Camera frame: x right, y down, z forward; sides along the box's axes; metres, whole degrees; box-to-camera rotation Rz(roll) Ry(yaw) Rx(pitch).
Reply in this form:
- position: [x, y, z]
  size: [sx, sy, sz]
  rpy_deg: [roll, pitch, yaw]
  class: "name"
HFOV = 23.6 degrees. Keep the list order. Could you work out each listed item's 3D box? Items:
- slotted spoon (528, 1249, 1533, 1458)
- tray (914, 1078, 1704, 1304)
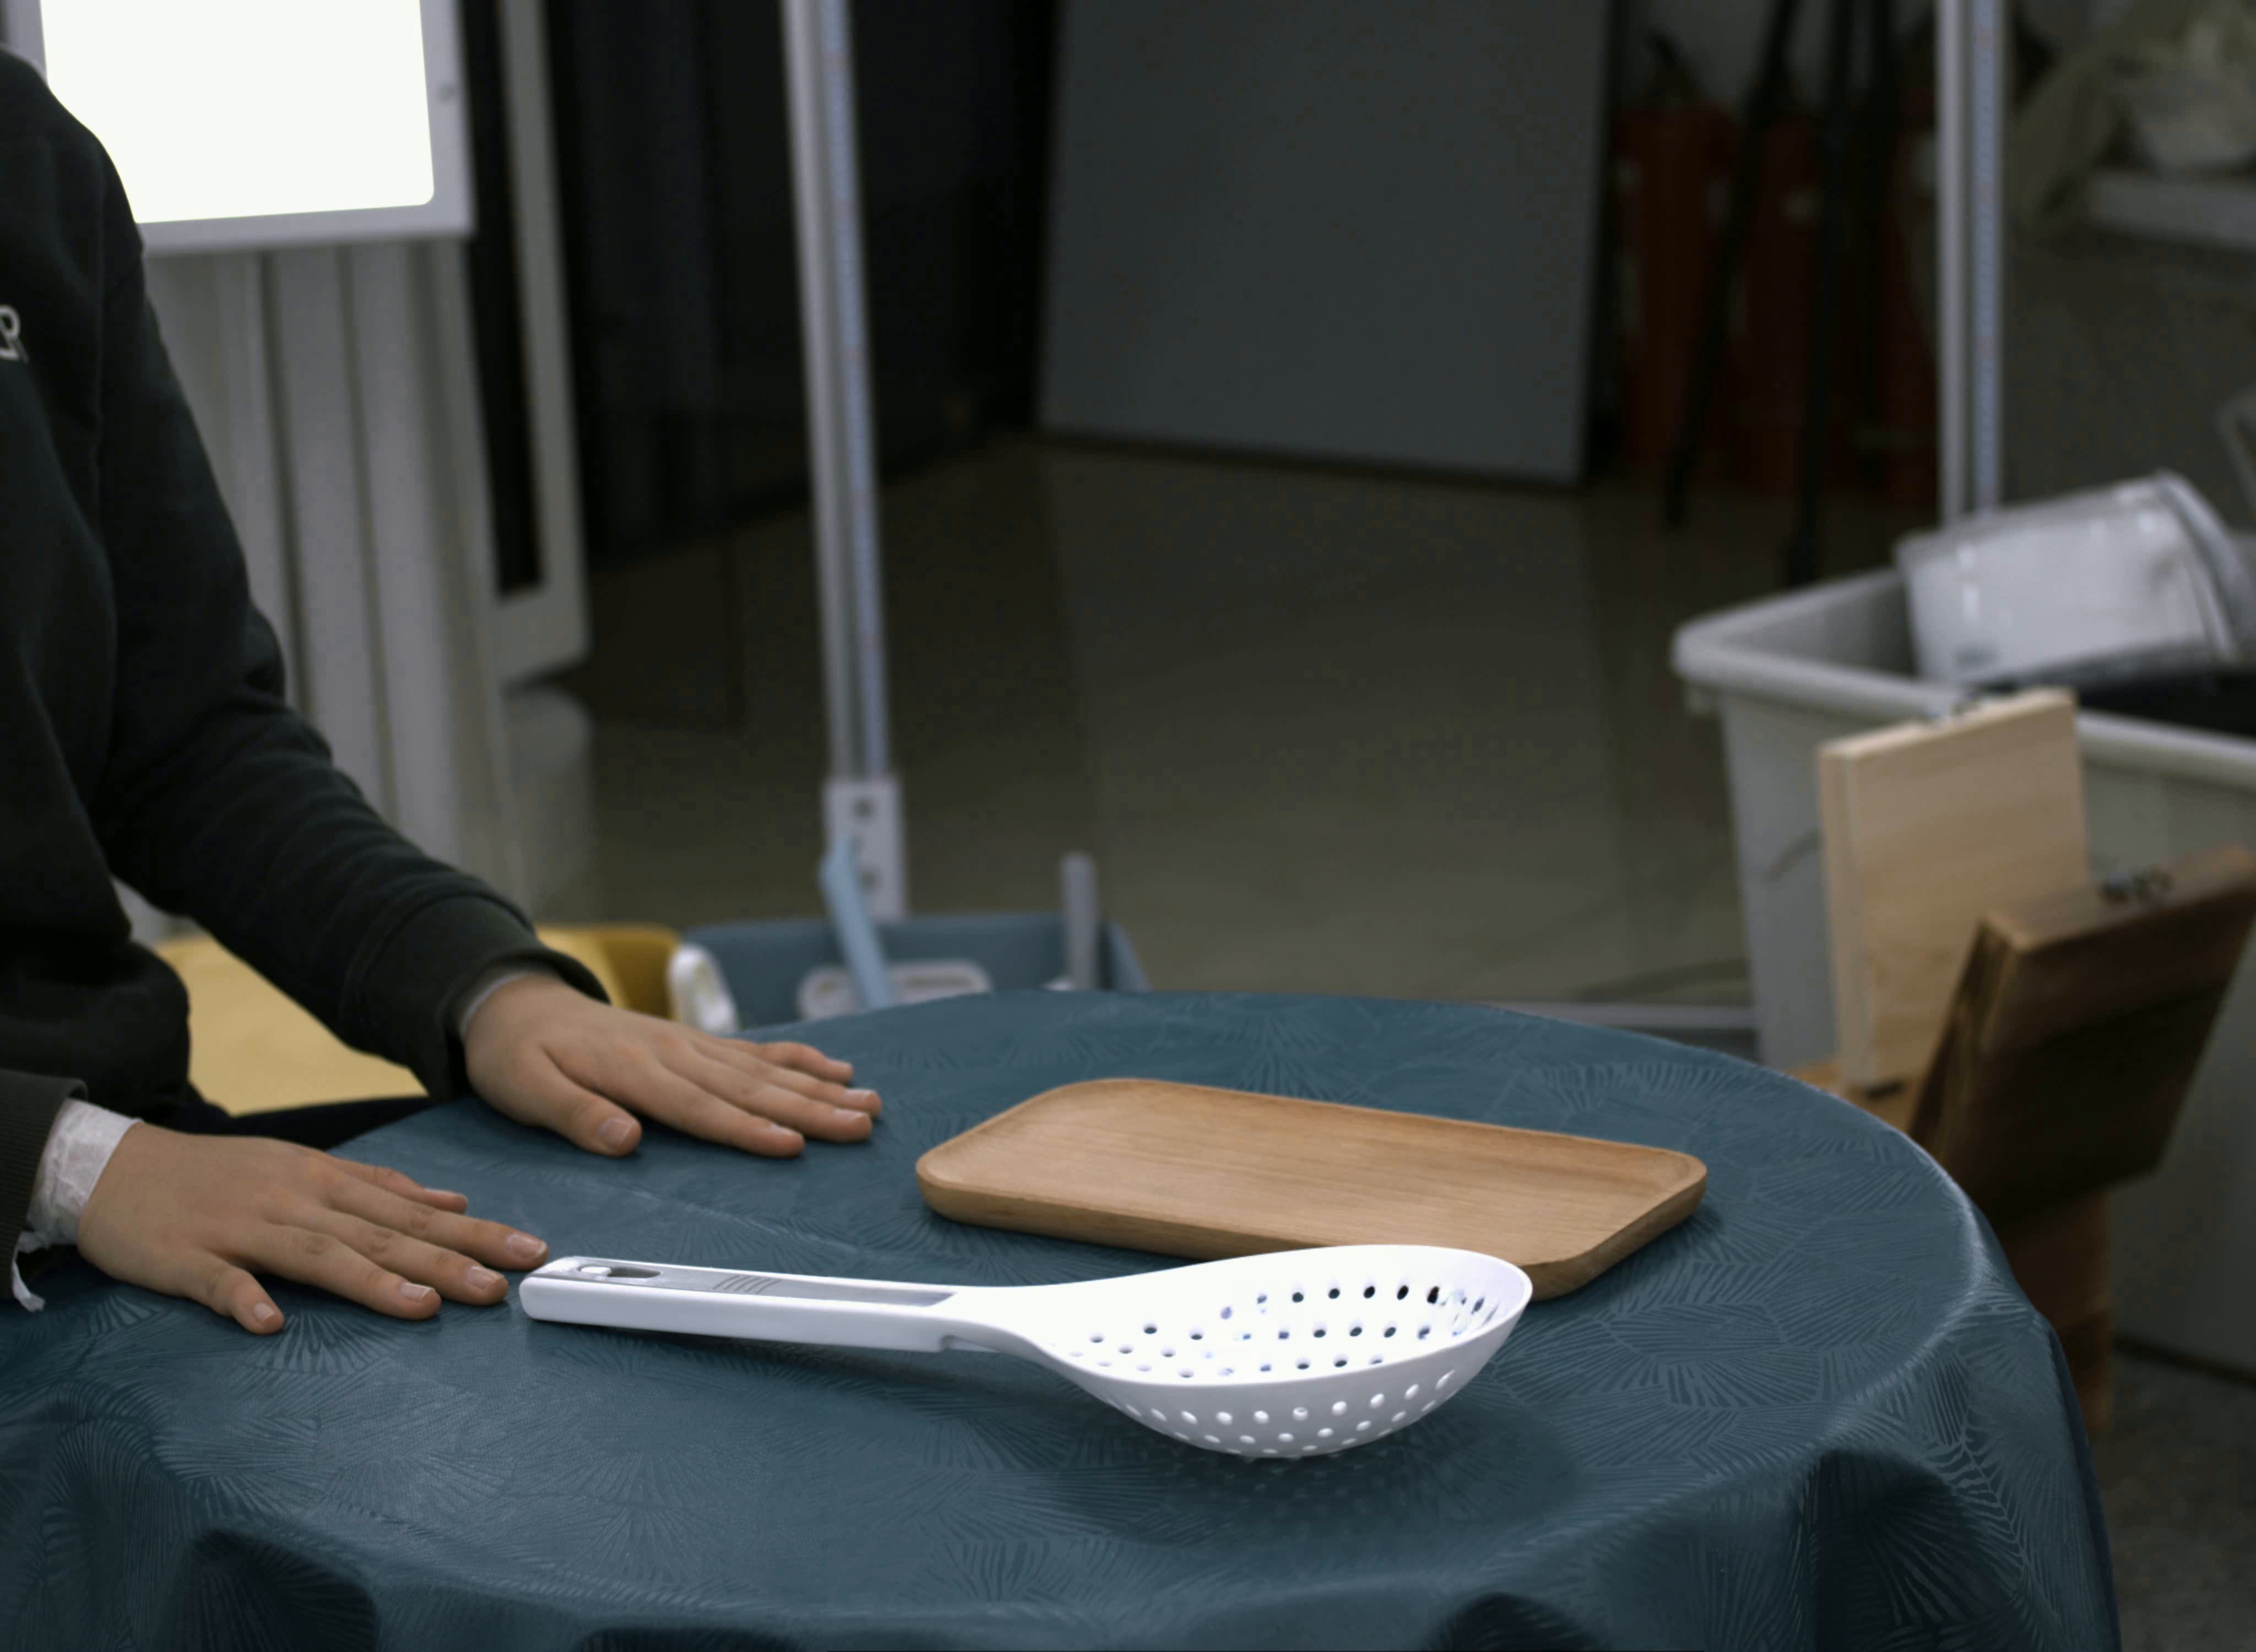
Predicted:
- position: [-0.039, 0.146, 1.589]
  size: [0.352, 0.046, 0.133]
  rpy_deg: [5, 14, 35]
  class: "slotted spoon"
- position: [0.057, 0.116, 1.739]
  size: [0.252, 0.023, 0.128]
  rpy_deg: [5, 14, 34]
  class: "tray"
